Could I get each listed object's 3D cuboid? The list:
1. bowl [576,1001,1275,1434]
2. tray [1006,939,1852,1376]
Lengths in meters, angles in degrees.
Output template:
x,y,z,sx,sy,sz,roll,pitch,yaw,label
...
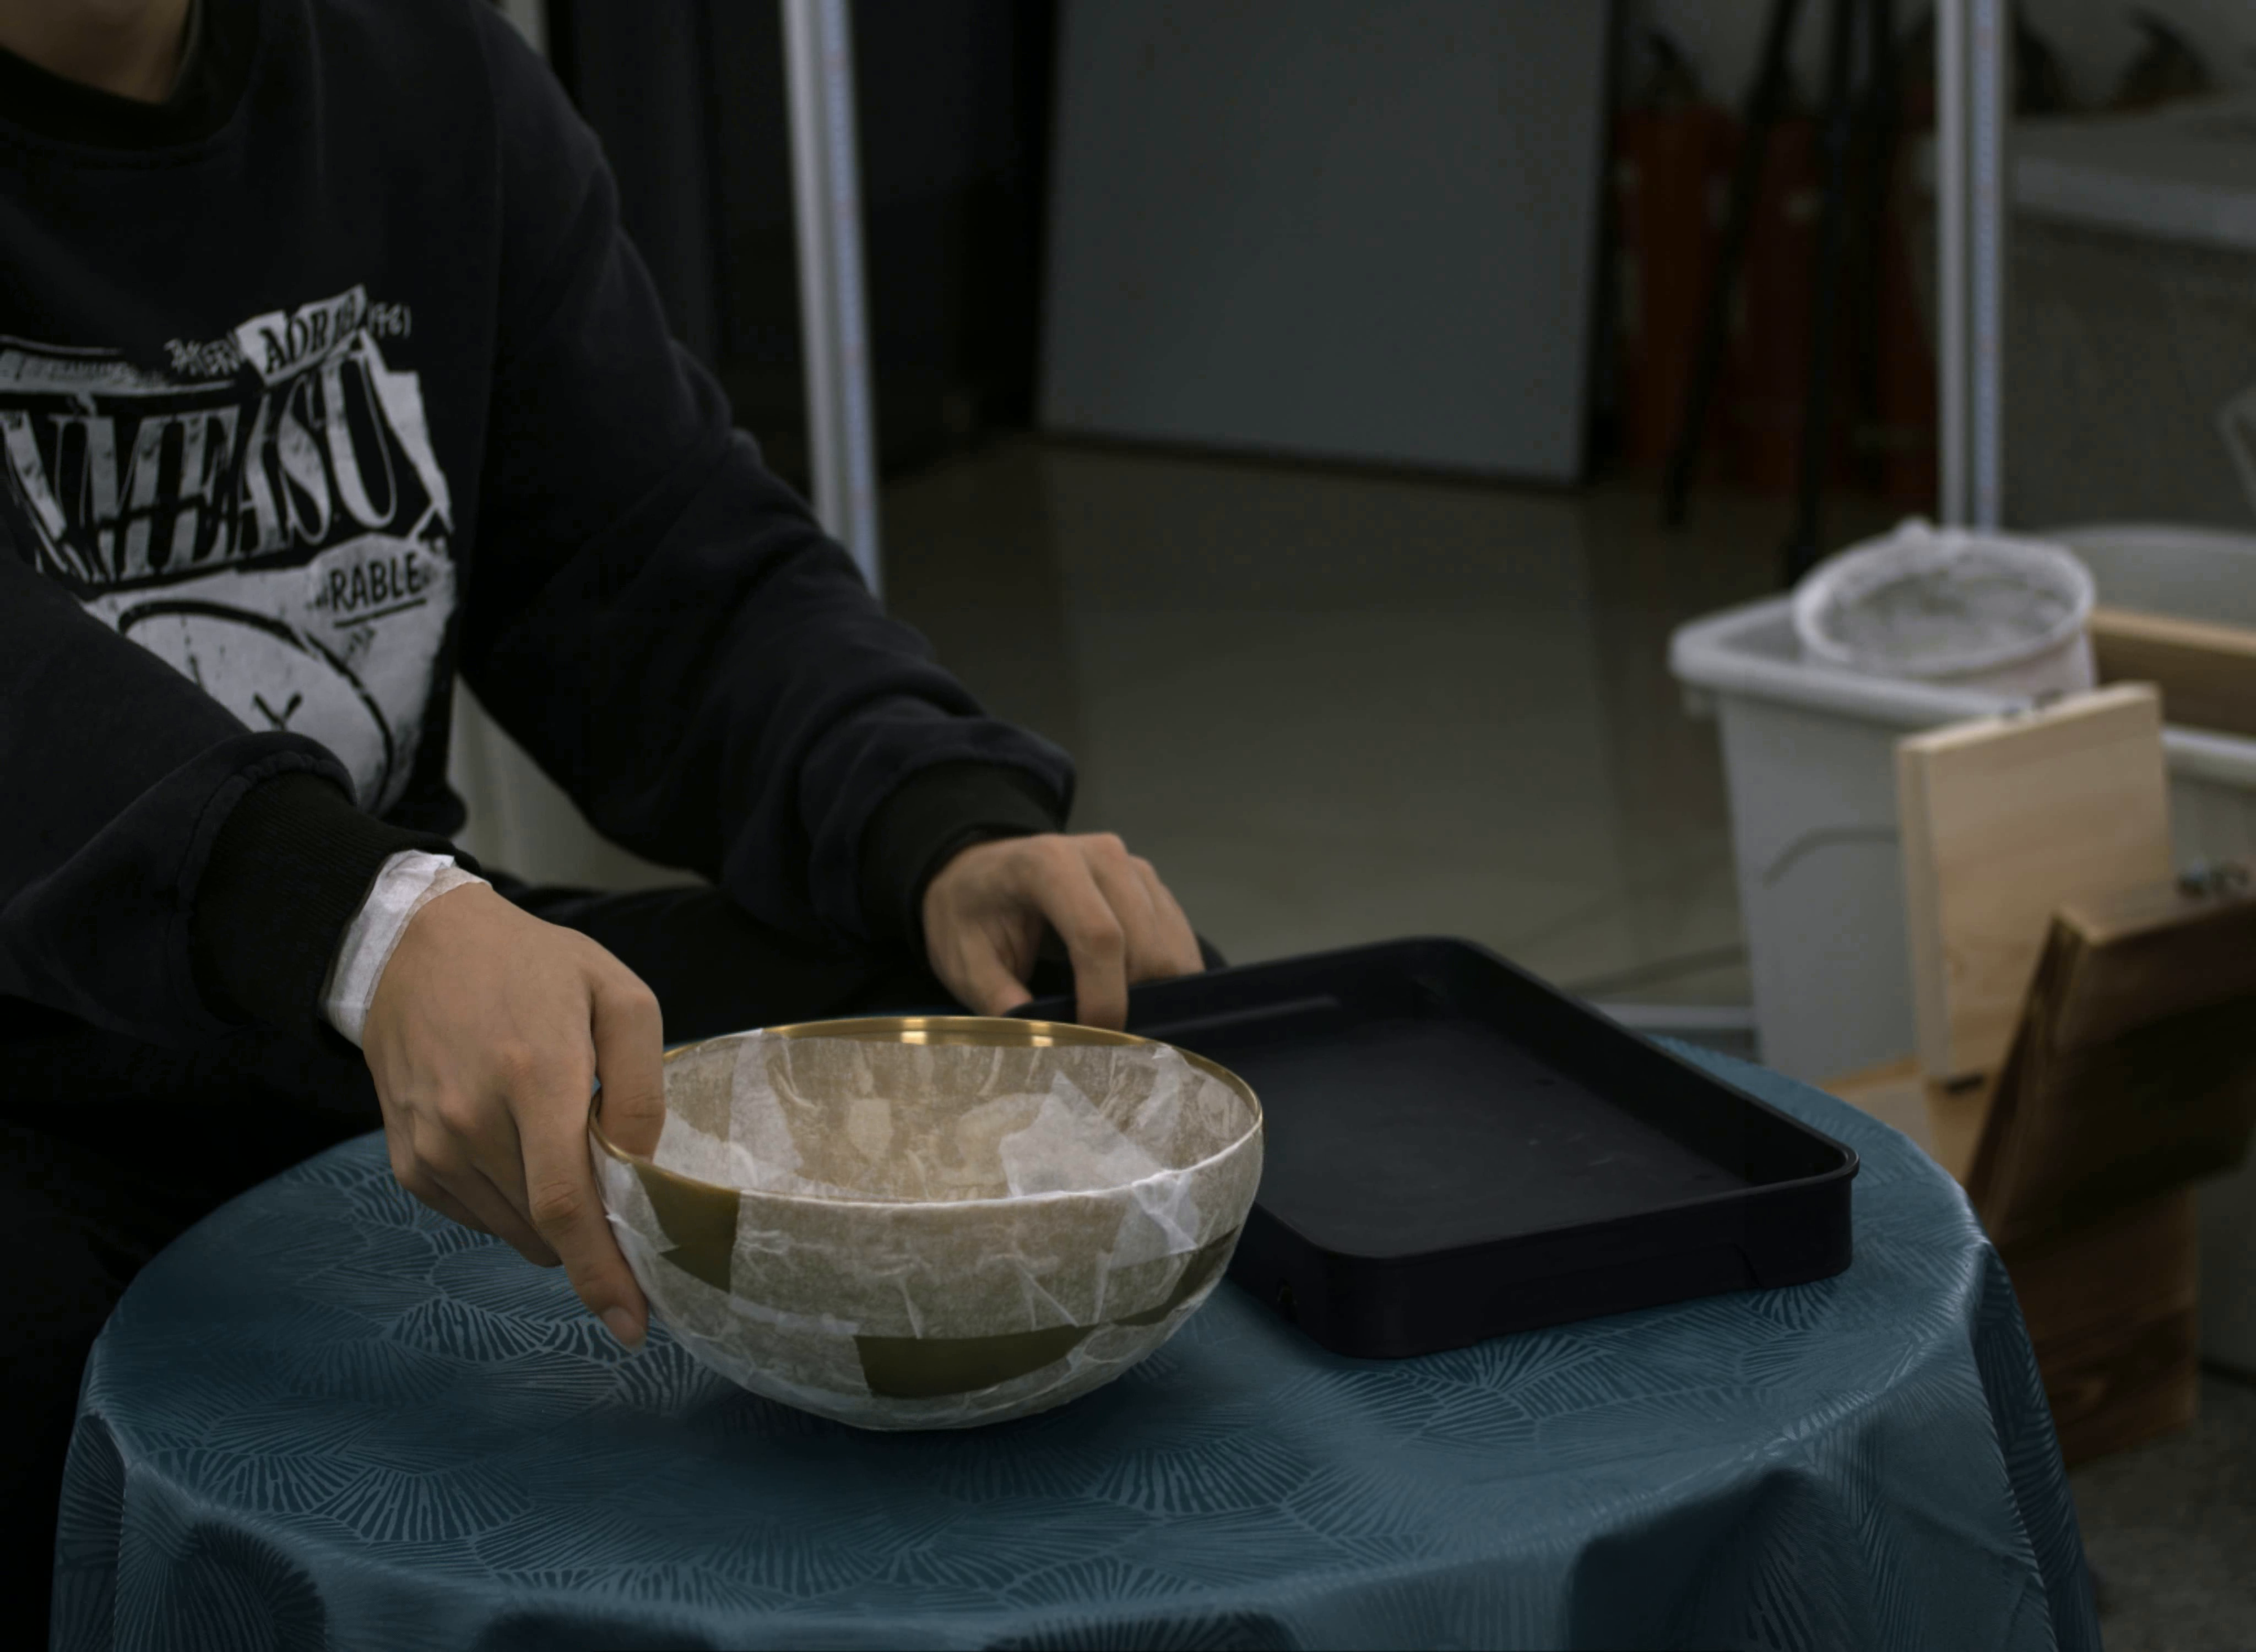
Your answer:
x,y,z,sx,sy,sz,roll,pitch,yaw,label
-0.058,0.122,1.585,0.212,0.095,0.215,-2,13,0,bowl
0.091,0.102,1.757,0.180,0.037,0.321,-8,16,-18,tray
